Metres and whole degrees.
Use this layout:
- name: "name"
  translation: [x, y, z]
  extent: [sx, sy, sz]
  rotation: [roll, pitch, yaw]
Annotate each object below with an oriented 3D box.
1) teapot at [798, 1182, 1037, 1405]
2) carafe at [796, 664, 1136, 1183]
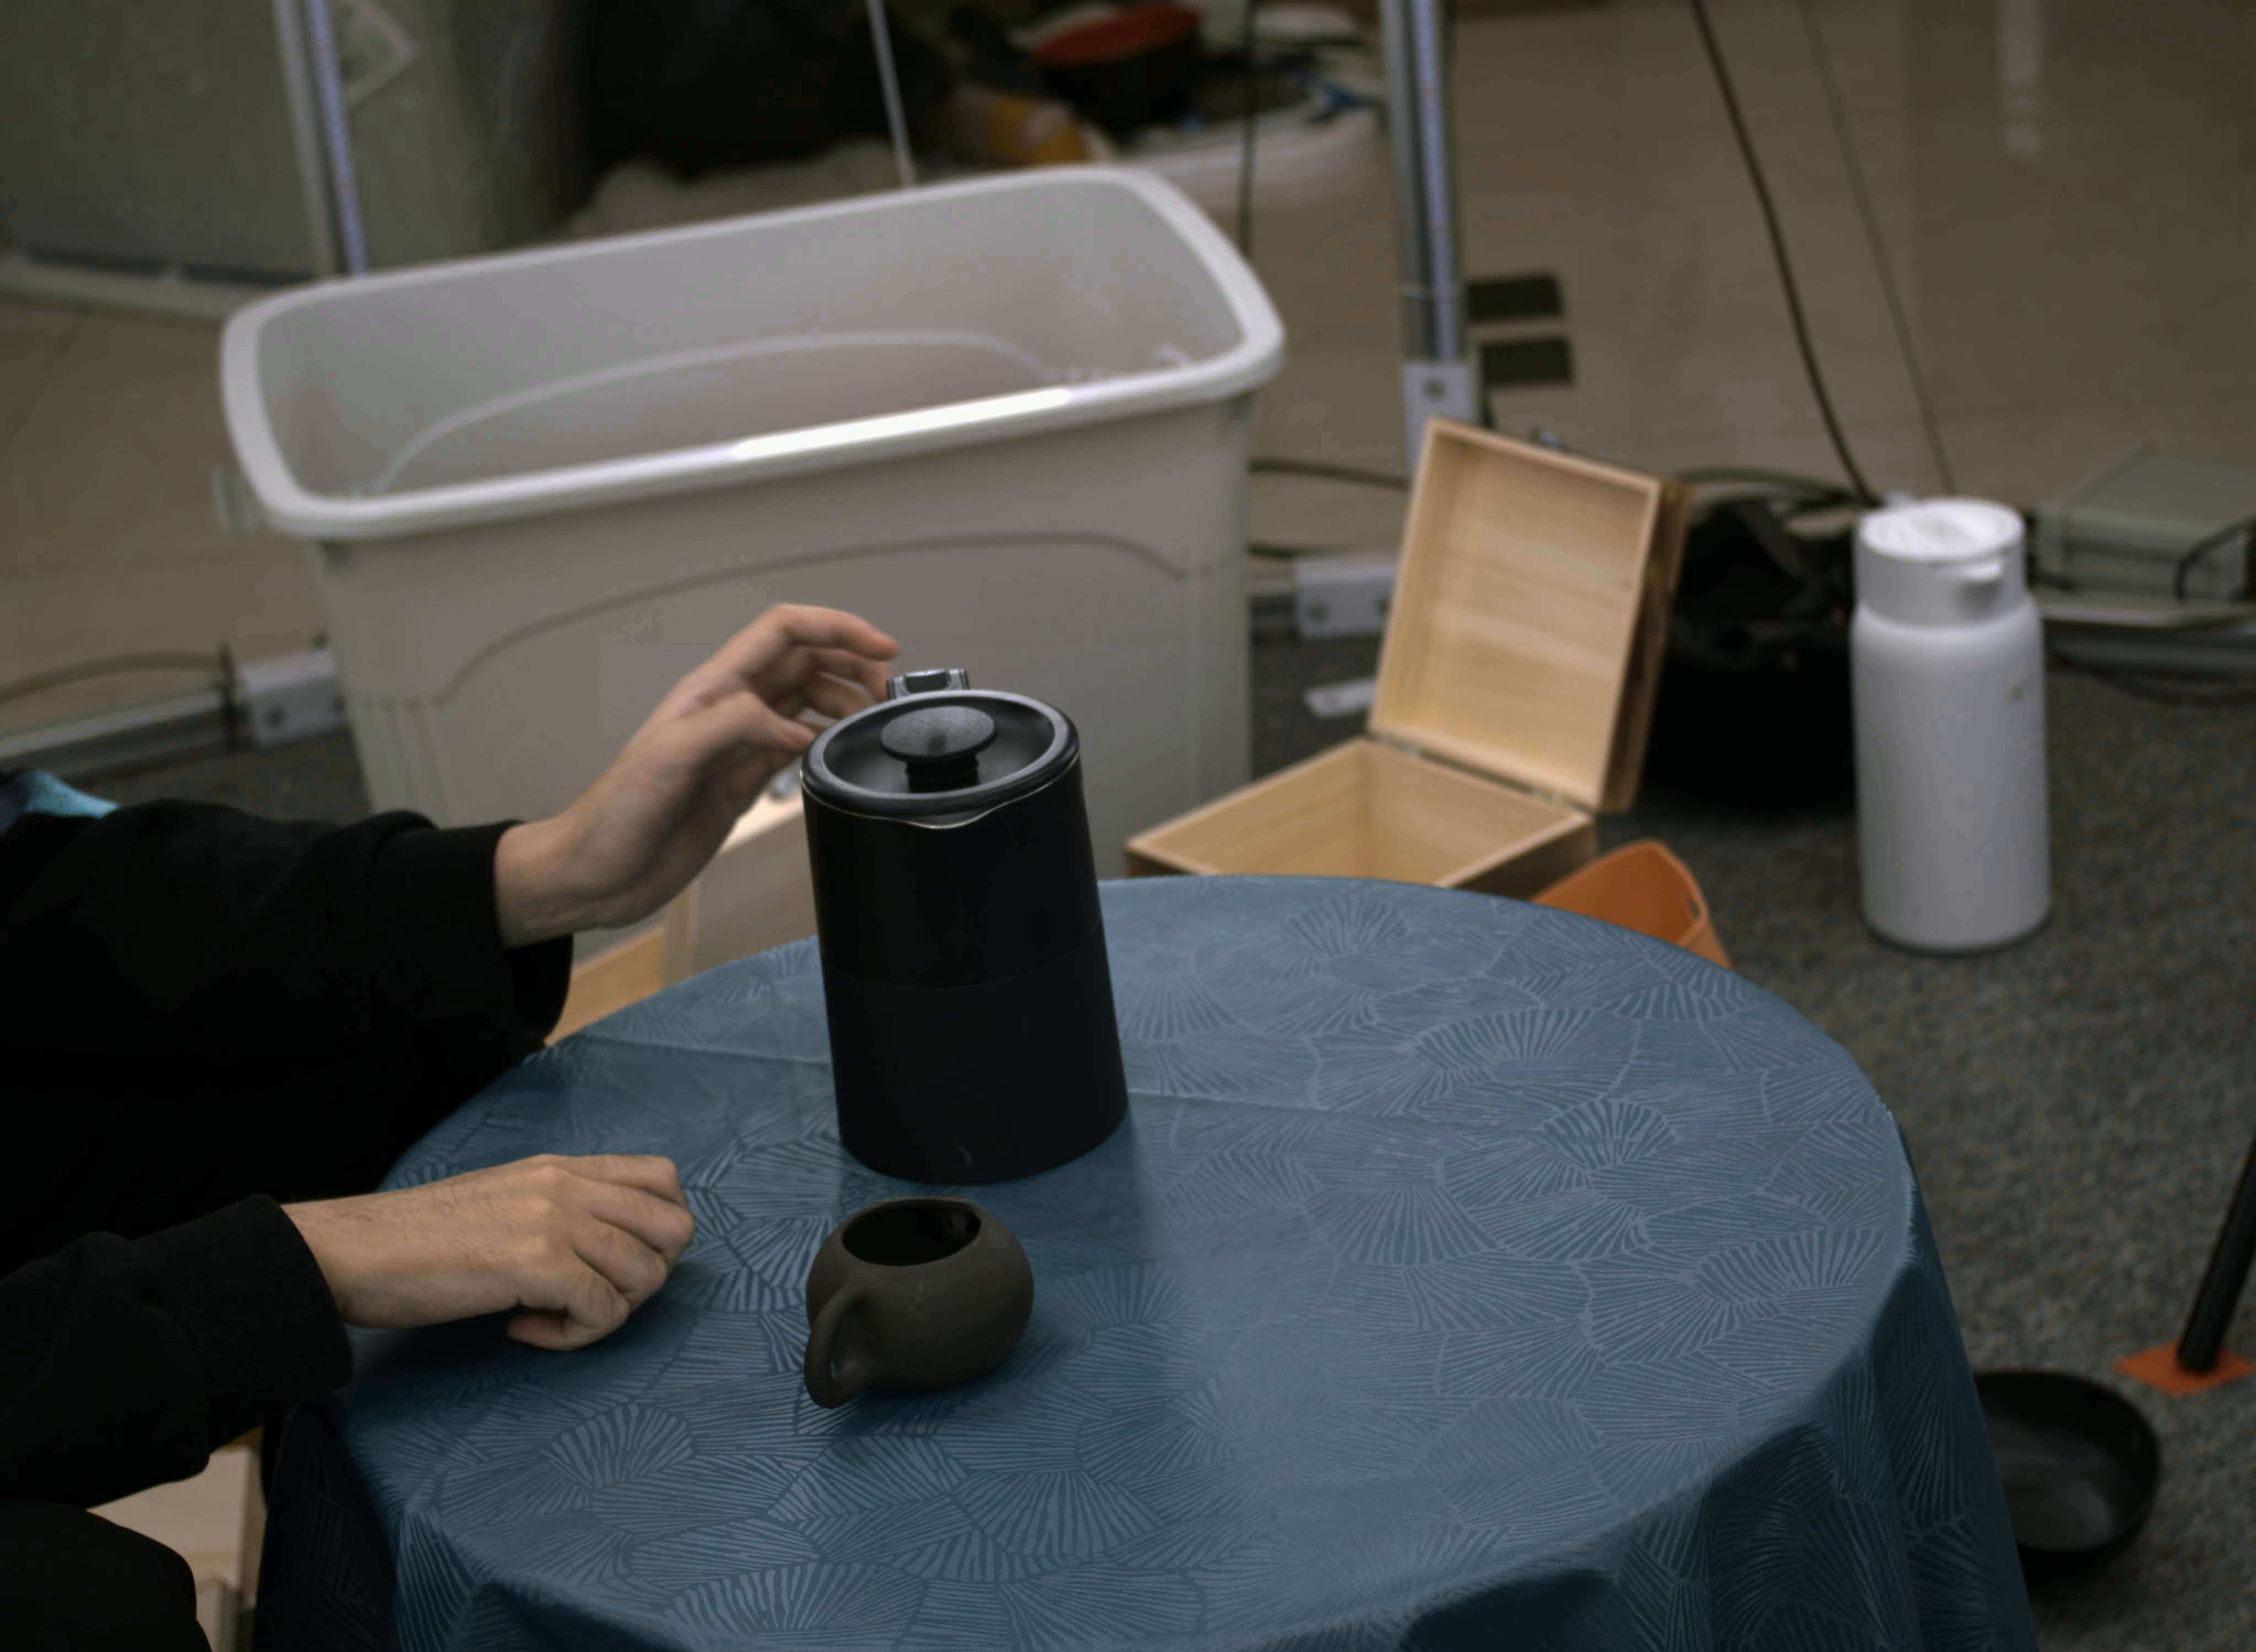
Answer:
- name: "teapot"
  translation: [-0.081, 0.171, 2.036]
  extent: [0.082, 0.054, 0.113]
  rotation: [12, 28, 35]
- name: "carafe"
  translation: [-0.067, 0.028, 2.193]
  extent: [0.114, 0.176, 0.169]
  rotation: [-10, 28, -3]
